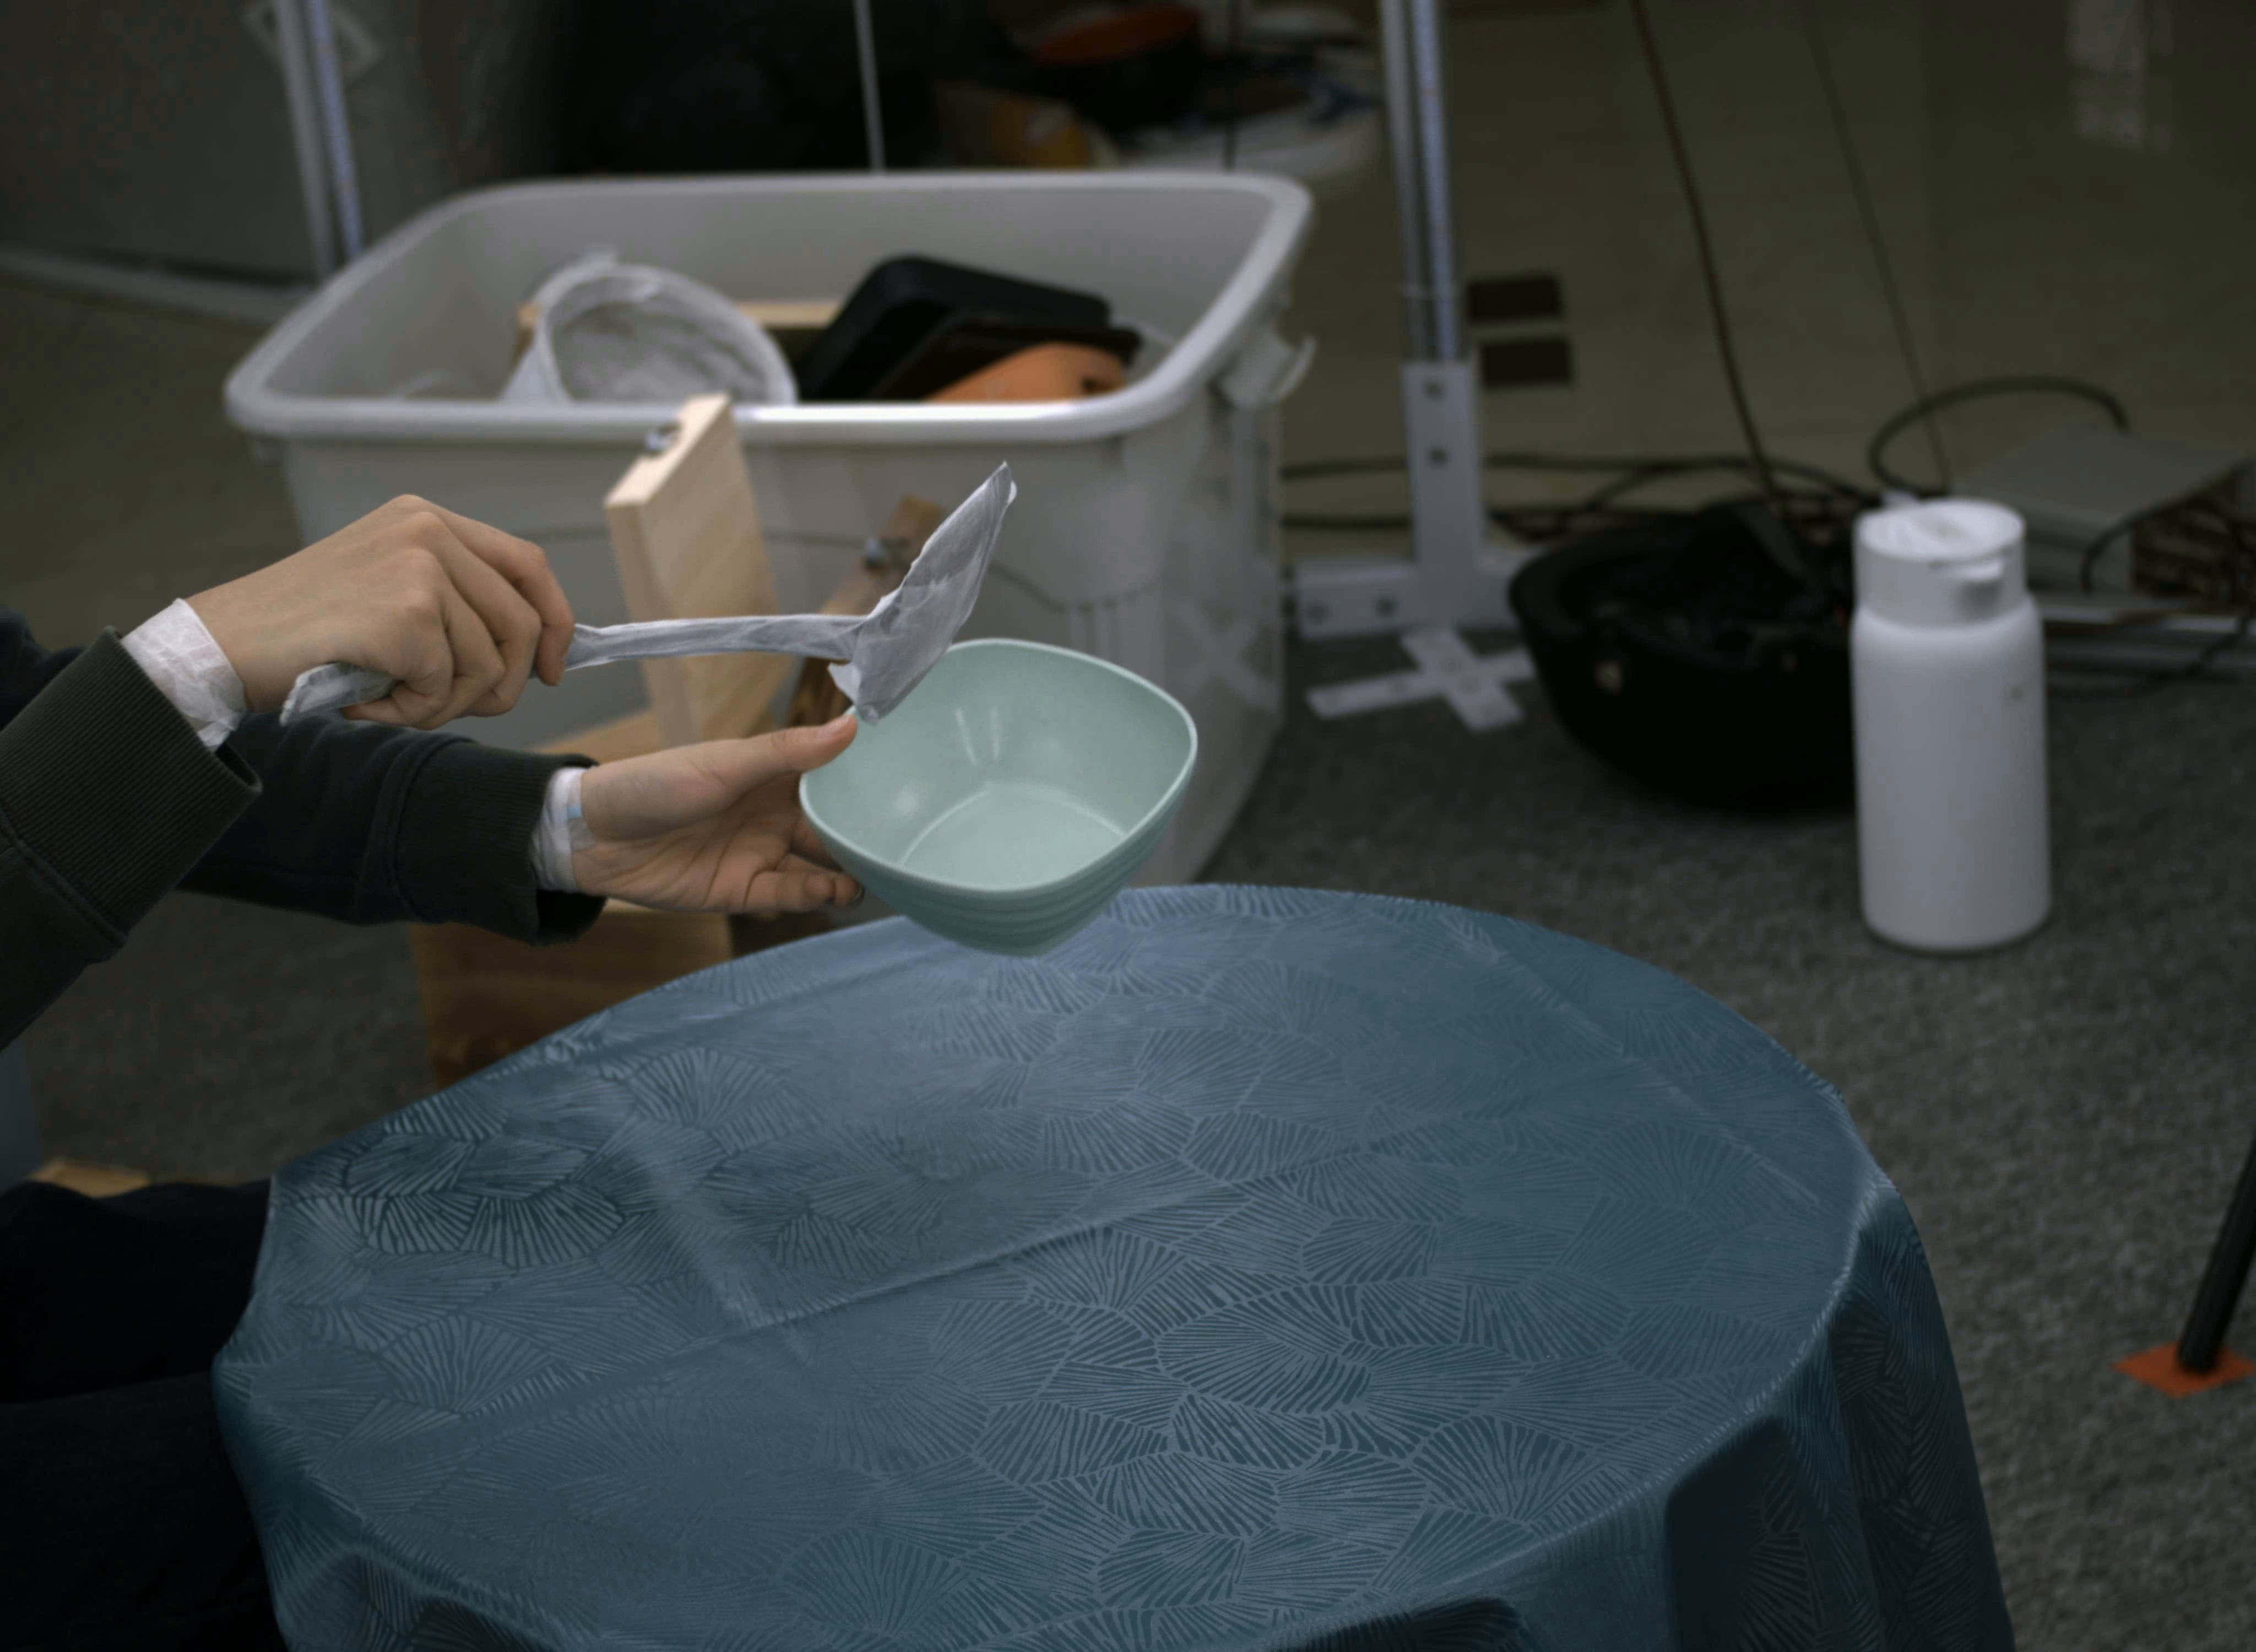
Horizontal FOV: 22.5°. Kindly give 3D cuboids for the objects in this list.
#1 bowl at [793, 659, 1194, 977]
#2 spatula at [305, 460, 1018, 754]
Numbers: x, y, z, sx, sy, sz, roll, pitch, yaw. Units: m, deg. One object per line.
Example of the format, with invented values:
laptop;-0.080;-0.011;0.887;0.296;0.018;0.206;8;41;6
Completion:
bowl;-0.048;0.005;2.134;0.151;0.060;0.148;-3;40;2
spatula;-0.153;-0.065;1.924;0.044;0.100;0.363;42;31;28
